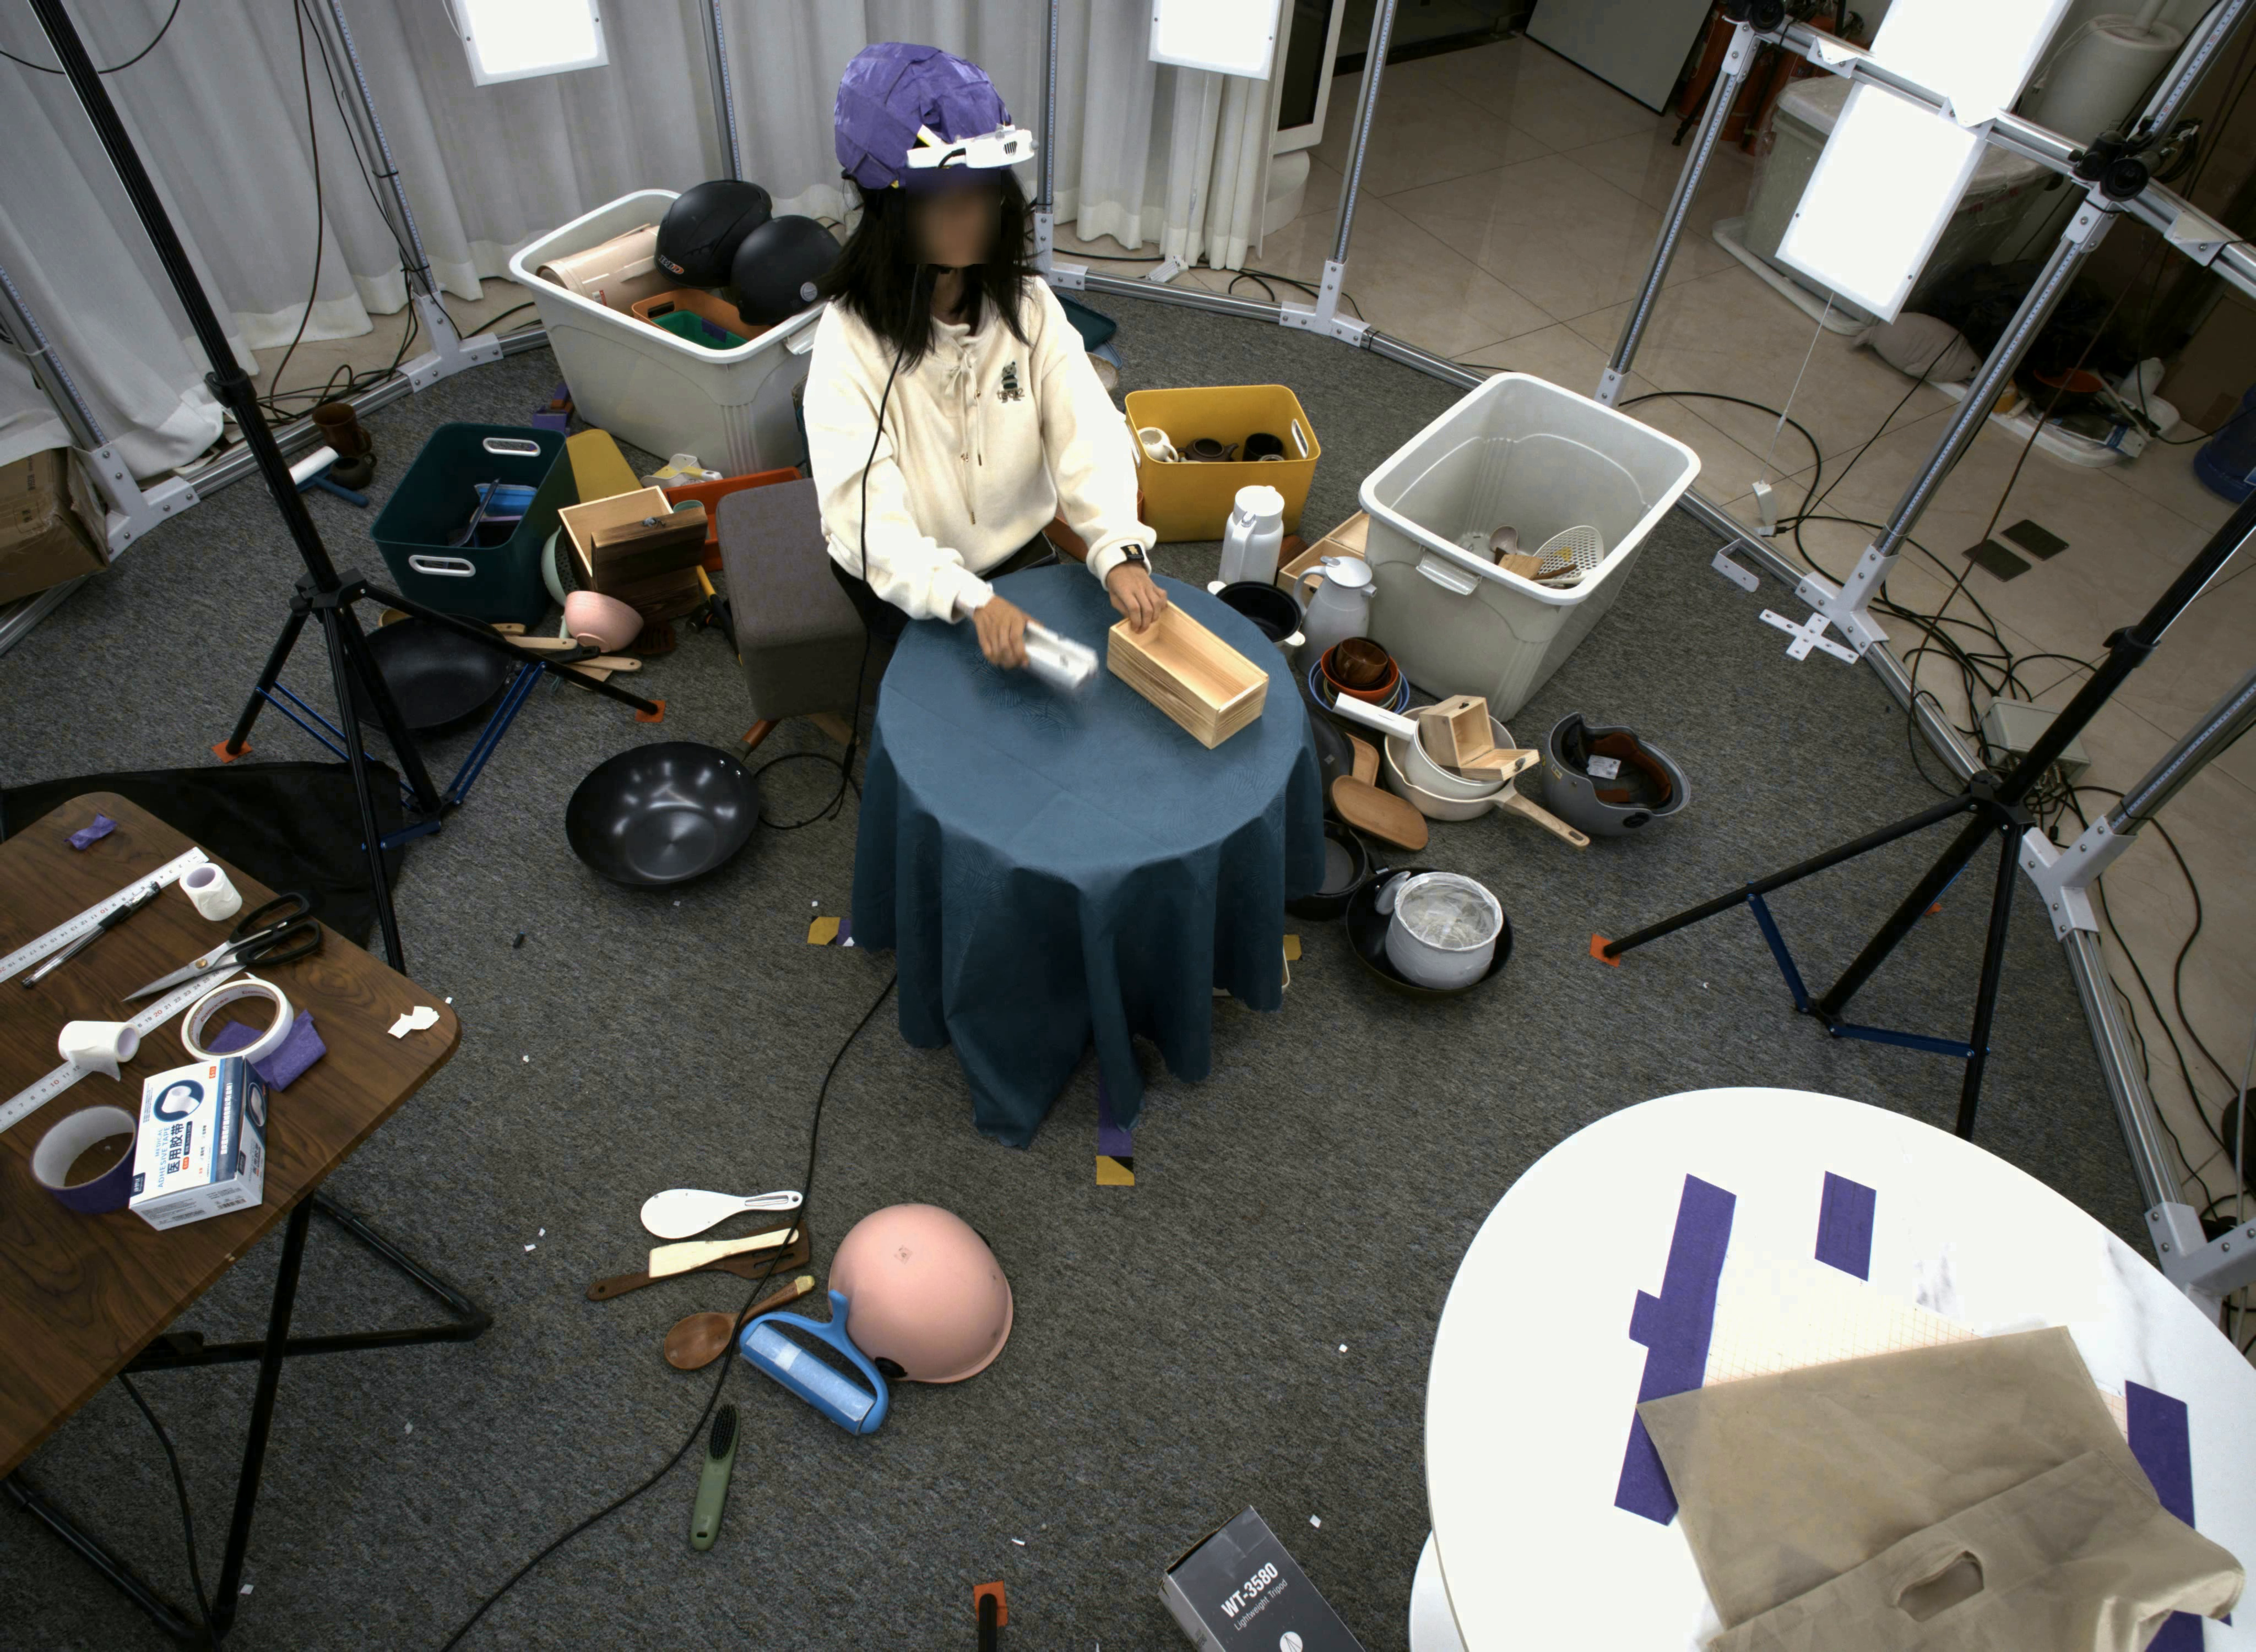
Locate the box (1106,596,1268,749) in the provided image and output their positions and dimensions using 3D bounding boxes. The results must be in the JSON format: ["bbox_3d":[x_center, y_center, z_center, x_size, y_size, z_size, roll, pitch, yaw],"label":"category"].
[{"bbox_3d":[0.080,-0.219,1.813,0.108,0.078,0.214,-34,61,-29],"label":"box"}]

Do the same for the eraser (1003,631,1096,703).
[{"bbox_3d":[-0.109,-0.222,1.783,0.136,0.045,0.050,30,59,34],"label":"eraser"}]
